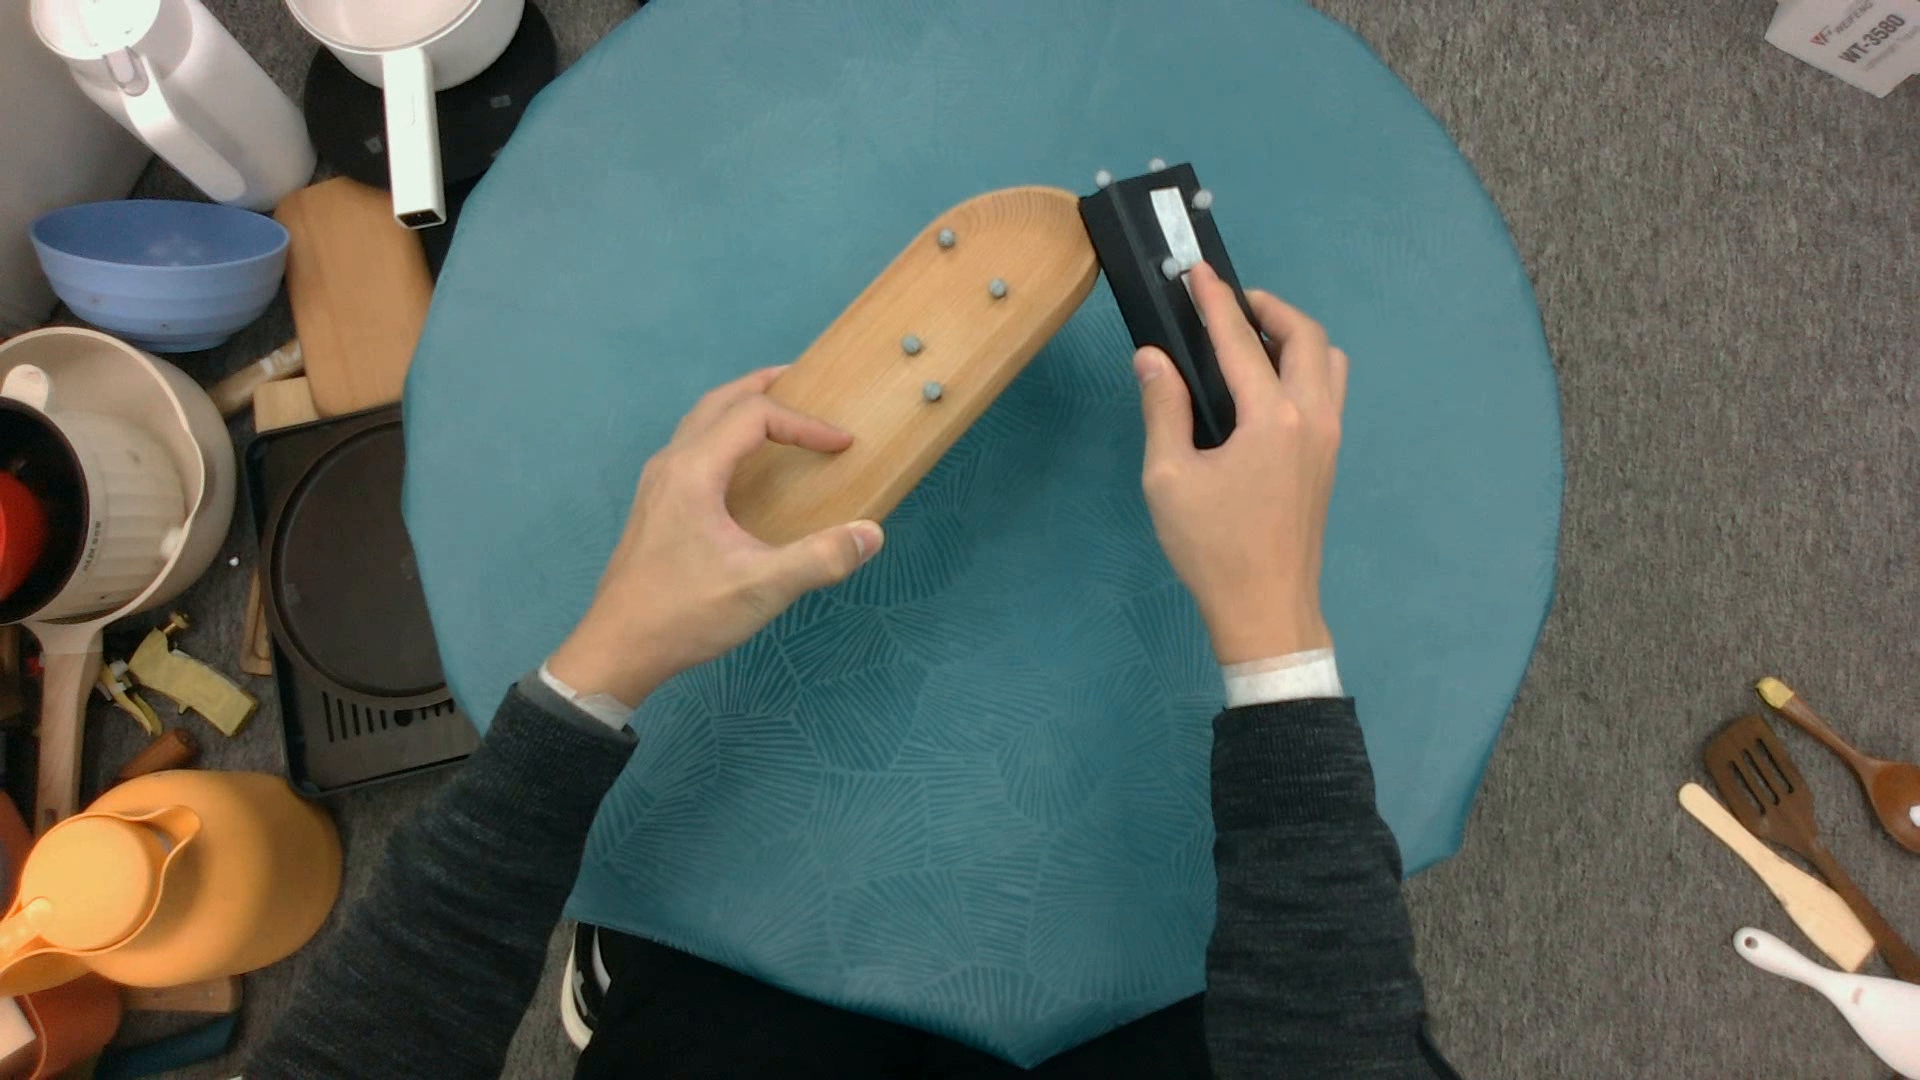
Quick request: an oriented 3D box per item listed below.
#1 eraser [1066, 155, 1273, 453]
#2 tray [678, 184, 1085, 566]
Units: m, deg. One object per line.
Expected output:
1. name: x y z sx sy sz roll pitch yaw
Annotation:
1. eraser: 0.093 -0.104 0.612 0.054 0.030 0.125 -23 92 -32
2. tray: -0.032 -0.078 0.614 0.101 0.020 0.232 26 68 39
